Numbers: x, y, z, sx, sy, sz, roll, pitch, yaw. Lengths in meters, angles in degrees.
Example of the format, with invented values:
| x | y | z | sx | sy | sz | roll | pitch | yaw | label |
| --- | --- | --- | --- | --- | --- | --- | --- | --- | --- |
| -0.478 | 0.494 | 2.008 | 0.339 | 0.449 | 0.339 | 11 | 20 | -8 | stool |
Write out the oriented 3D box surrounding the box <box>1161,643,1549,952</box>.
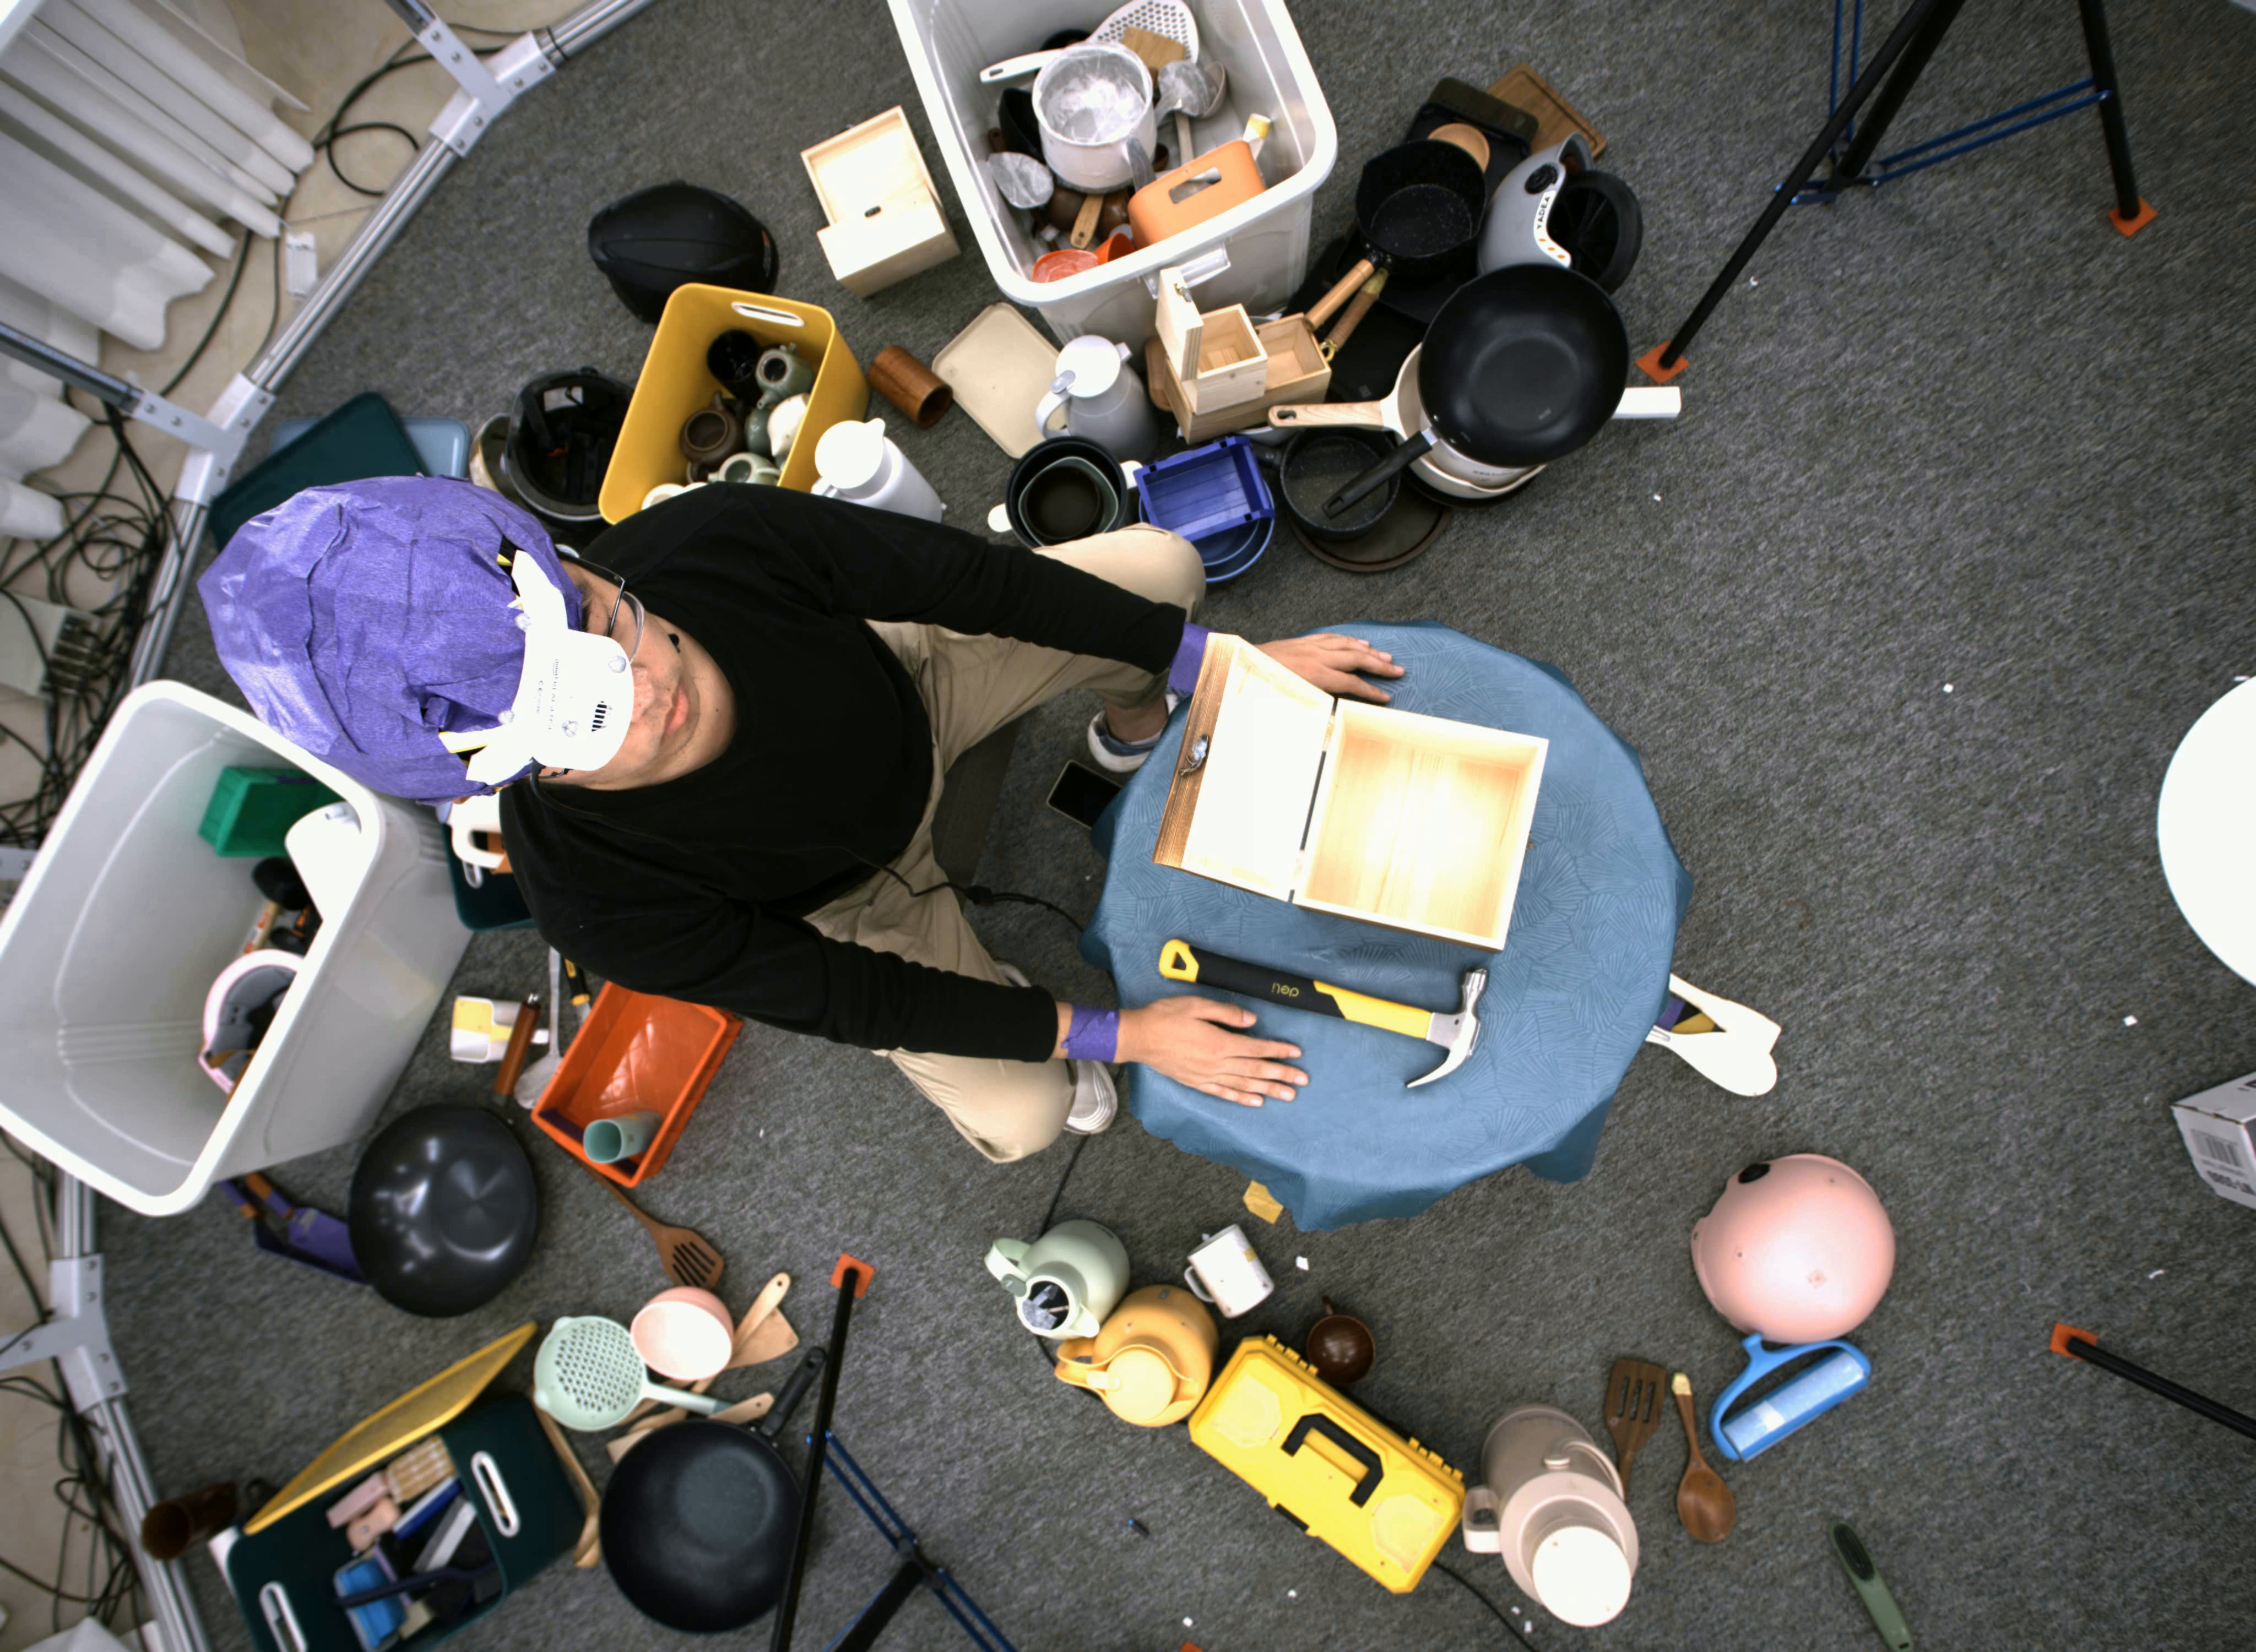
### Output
| x | y | z | sx | sy | sz | roll | pitch | yaw | label |
| --- | --- | --- | --- | --- | --- | --- | --- | --- | --- |
| 0.221 | -0.015 | 1.294 | 0.322 | 0.375 | 0.208 | 13 | 88 | 12 | box |

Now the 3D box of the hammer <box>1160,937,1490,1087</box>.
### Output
| x | y | z | sx | sy | sz | roll | pitch | yaw | label |
| --- | --- | --- | --- | --- | --- | --- | --- | --- | --- |
| 0.197 | 0.176 | 1.451 | 0.339 | 0.032 | 0.131 | 14 | 90 | 10 | hammer |
